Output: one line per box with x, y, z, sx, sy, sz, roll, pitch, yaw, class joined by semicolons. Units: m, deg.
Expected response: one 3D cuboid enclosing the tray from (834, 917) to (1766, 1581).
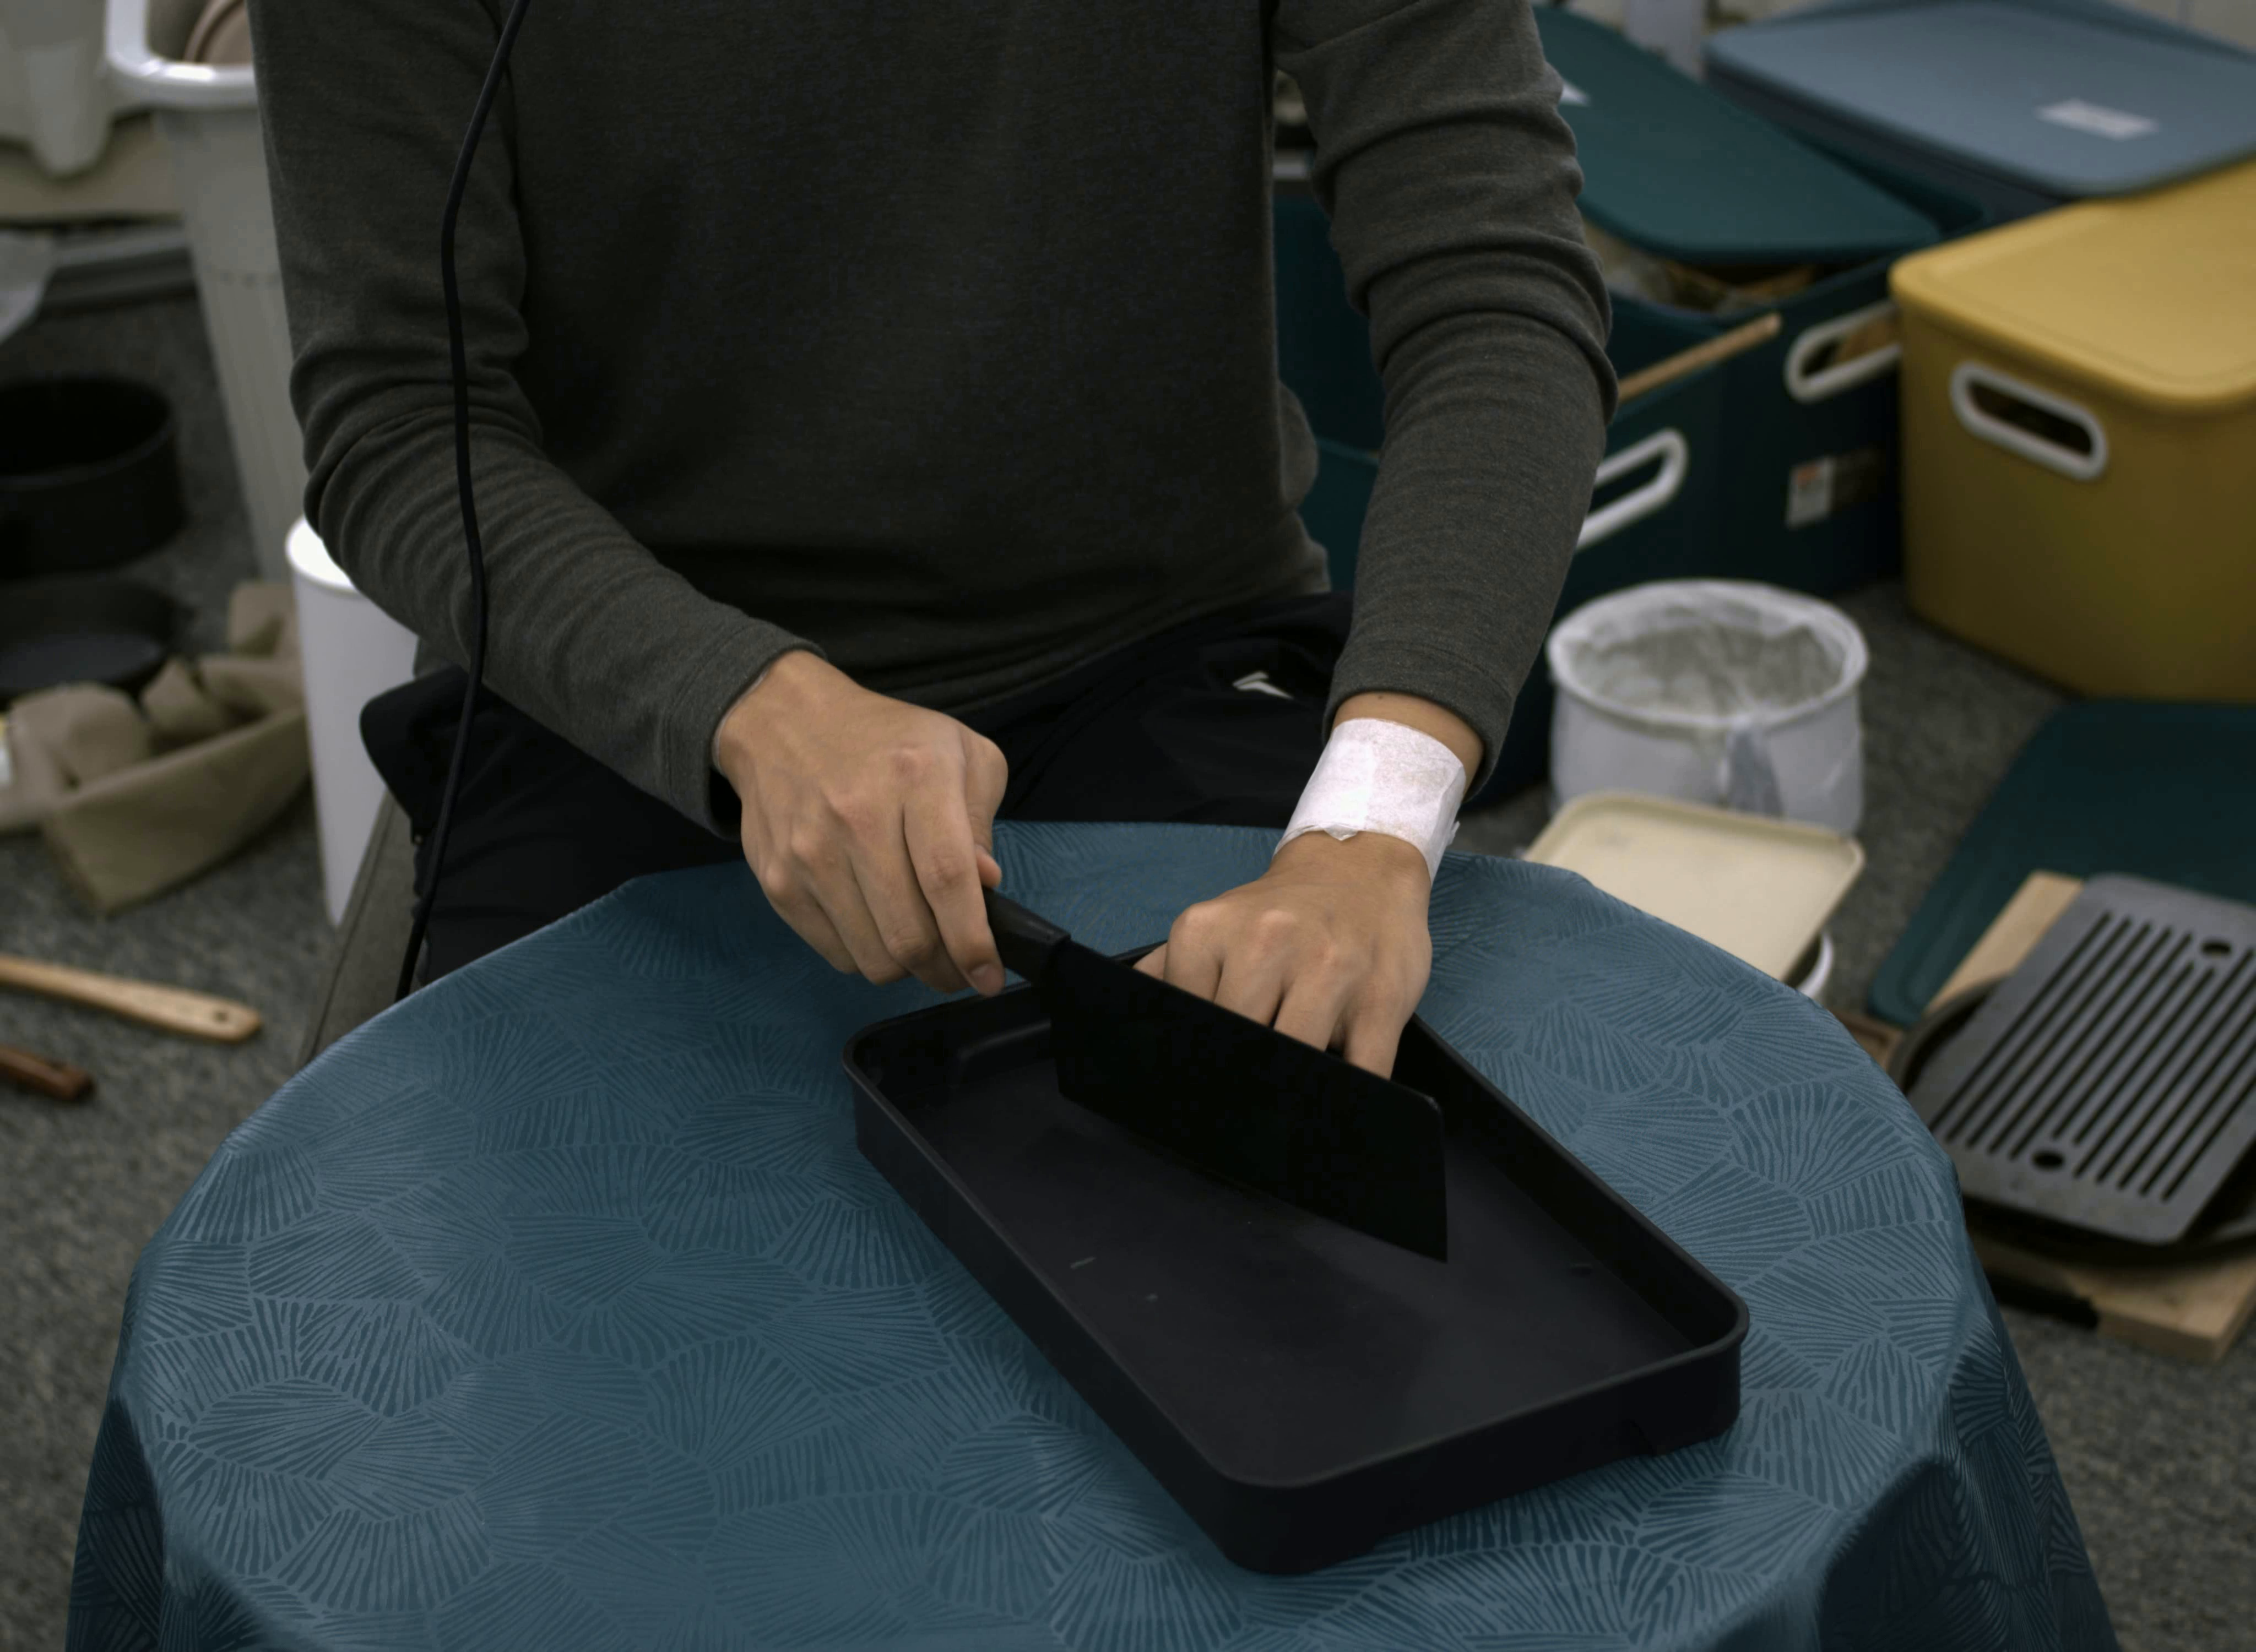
0.049;0.128;1.804;0.185;0.036;0.319;-16;30;-24;tray

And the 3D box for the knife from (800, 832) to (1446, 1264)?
-0.005;0.068;1.860;0.021;0.080;0.302;-25;38;-37;knife
